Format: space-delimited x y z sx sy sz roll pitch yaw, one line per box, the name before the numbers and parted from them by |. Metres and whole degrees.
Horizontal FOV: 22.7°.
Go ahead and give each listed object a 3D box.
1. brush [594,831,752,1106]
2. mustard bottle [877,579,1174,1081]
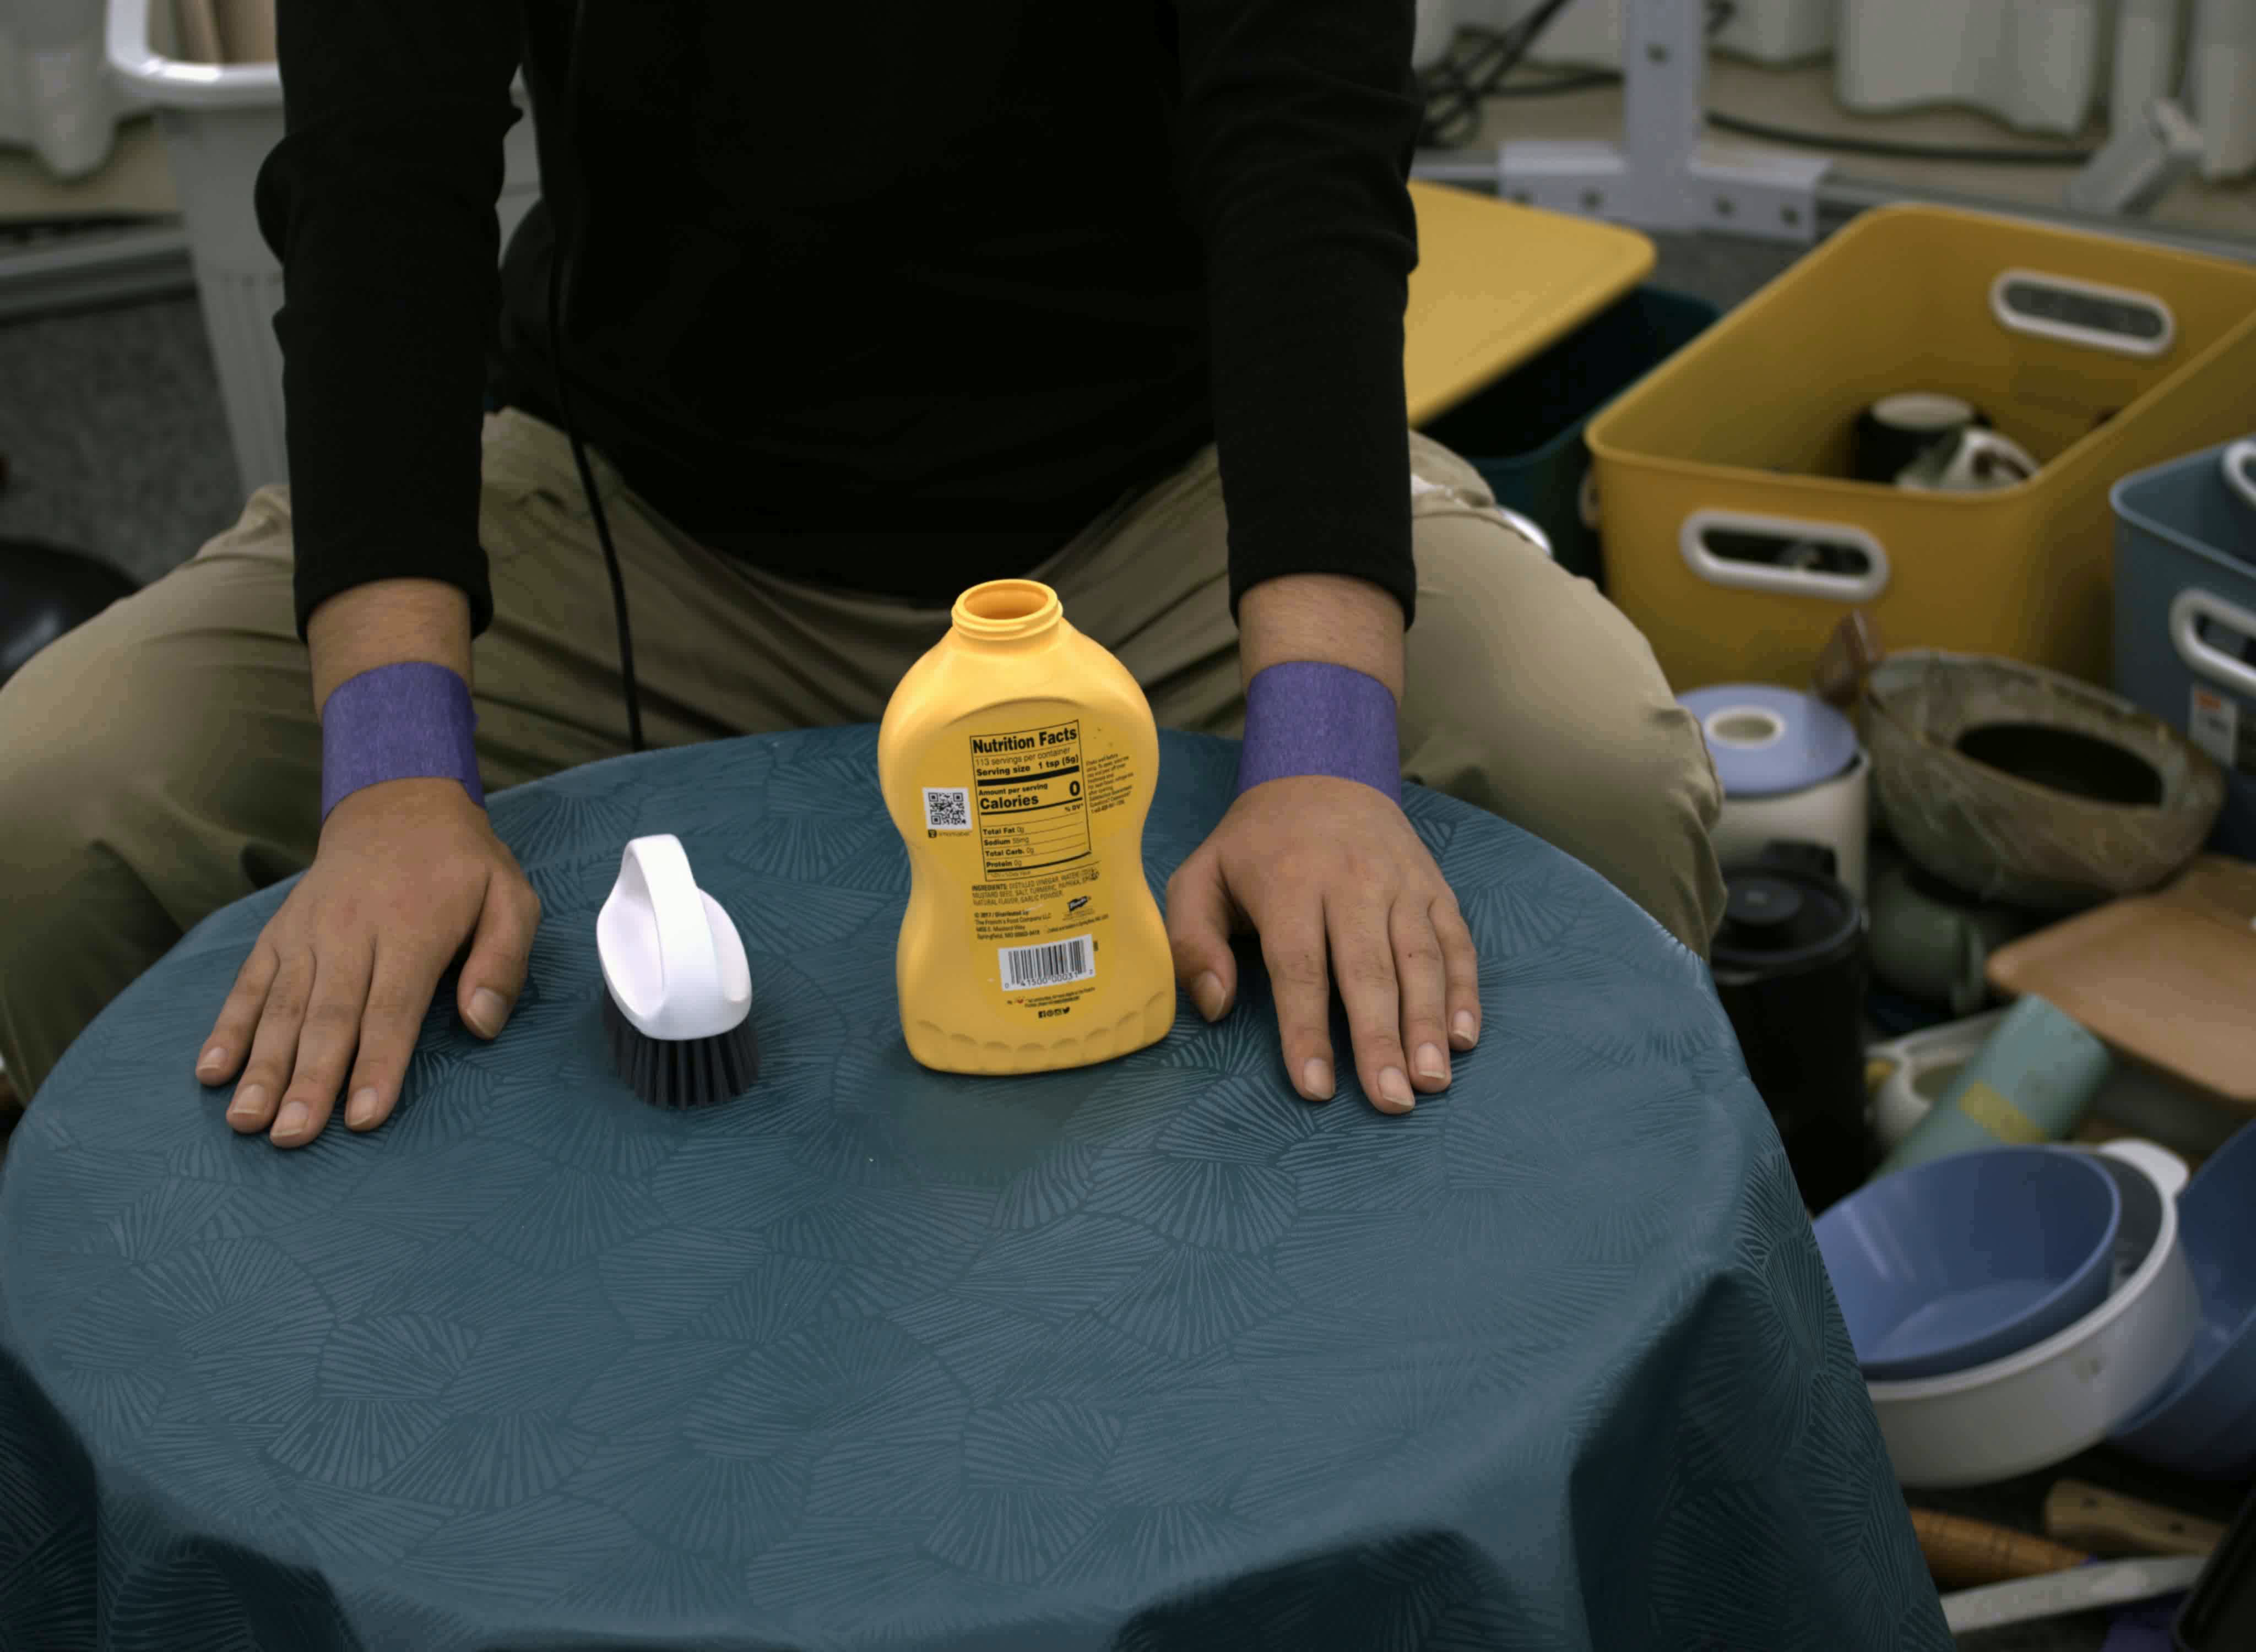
brush | -0.160 0.043 1.949 0.050 0.072 0.100 -7 28 -10
mustard bottle | -0.037 0.000 1.918 0.098 0.170 0.060 -9 24 -7
